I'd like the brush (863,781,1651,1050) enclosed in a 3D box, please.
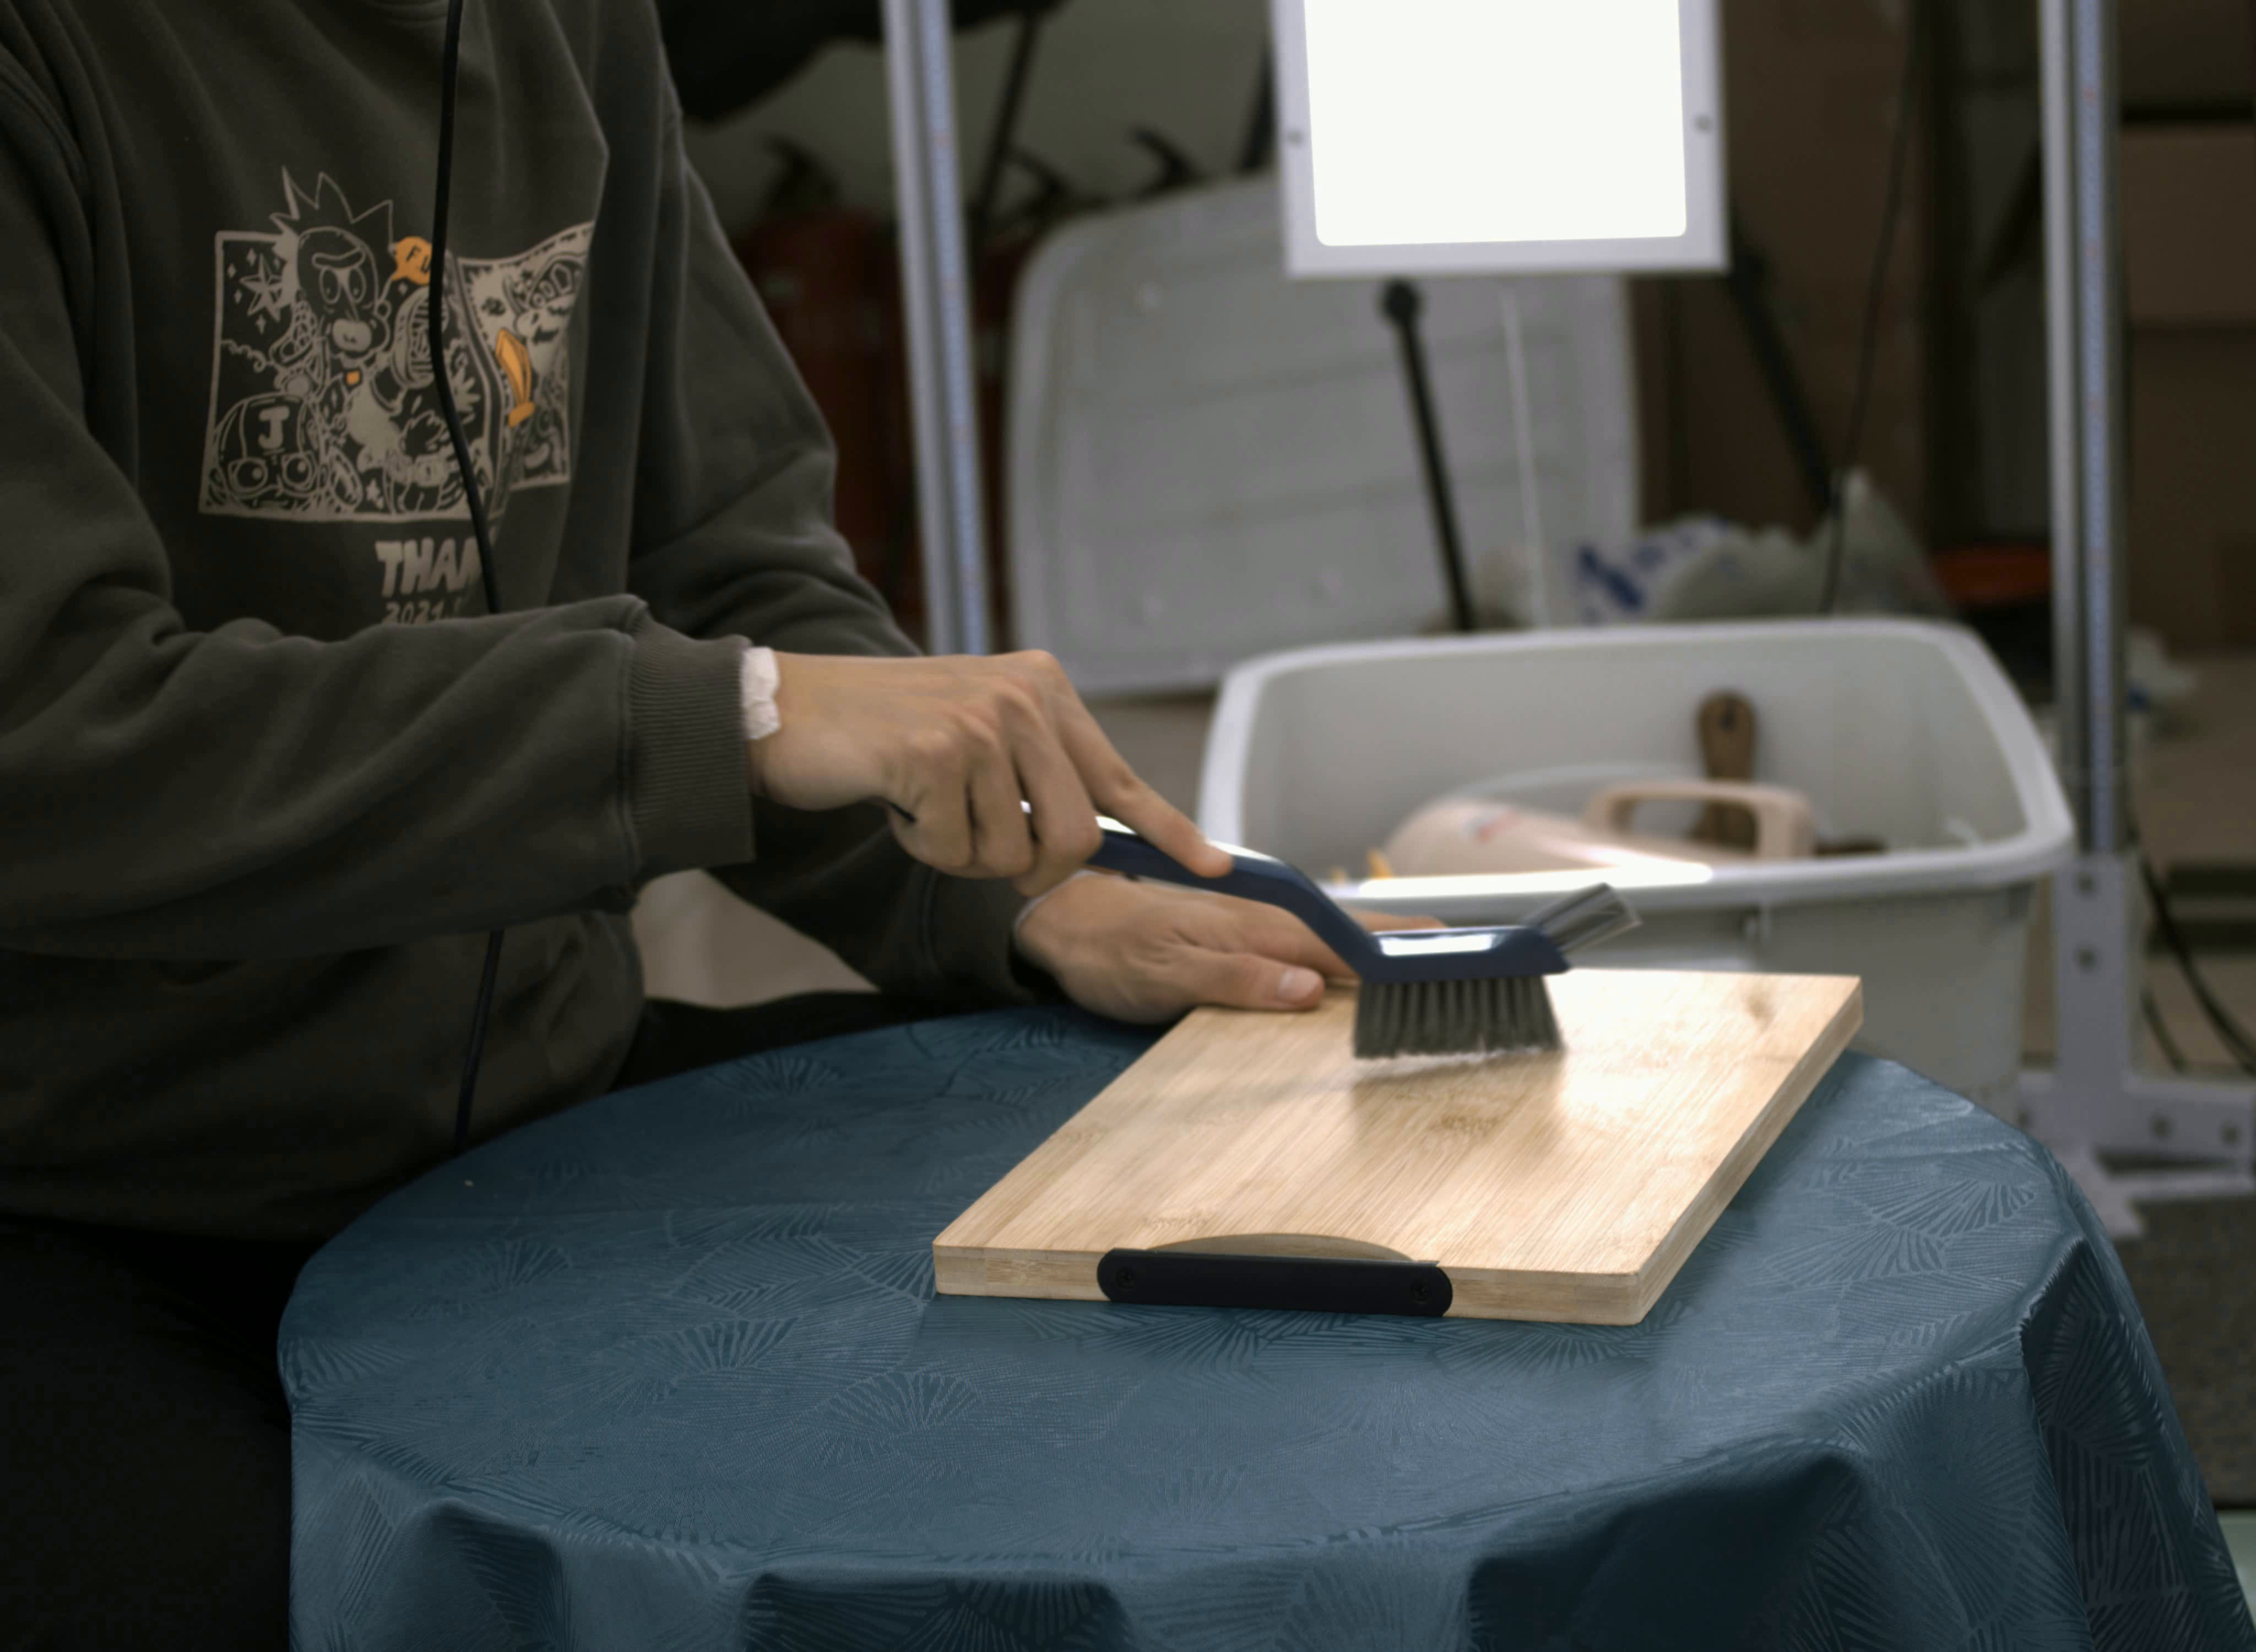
[{"bbox_3d":[0.044,0.012,1.917,0.269,0.097,0.033,21,19,-16],"label":"brush"}]

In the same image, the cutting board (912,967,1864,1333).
[{"bbox_3d":[0.101,0.107,1.907,0.254,0.023,0.342,-1,14,20],"label":"cutting board"}]
